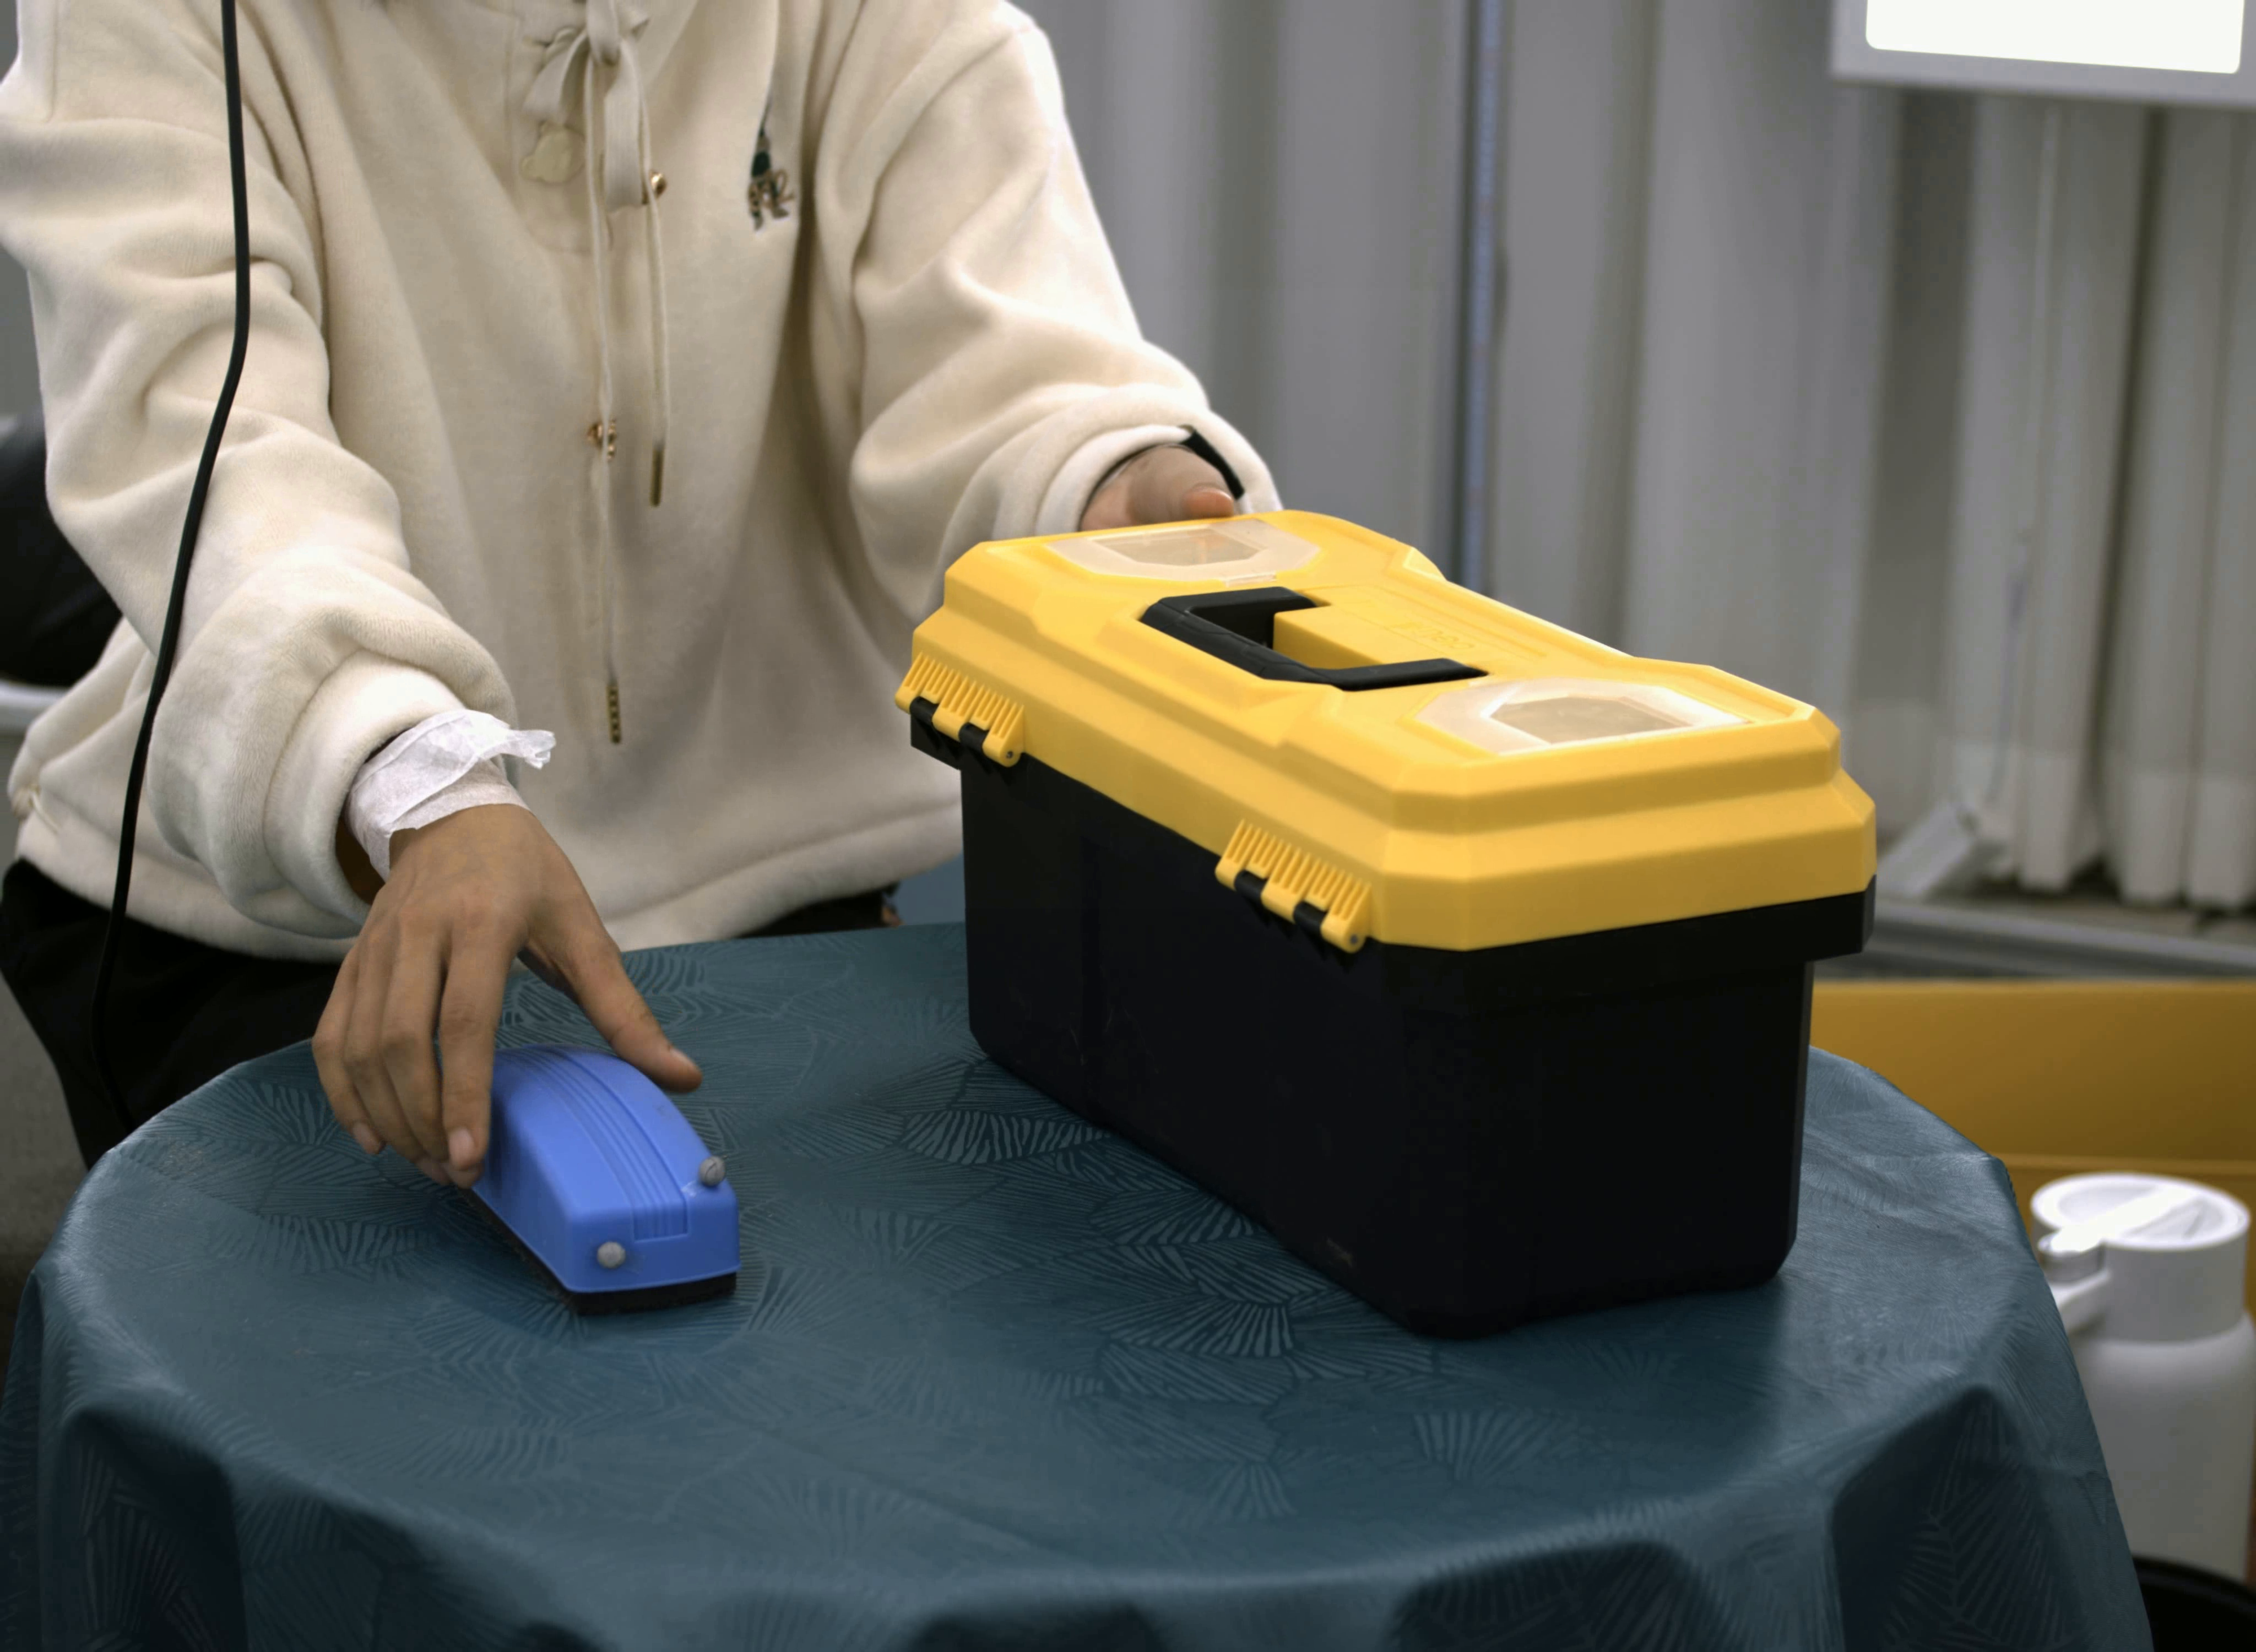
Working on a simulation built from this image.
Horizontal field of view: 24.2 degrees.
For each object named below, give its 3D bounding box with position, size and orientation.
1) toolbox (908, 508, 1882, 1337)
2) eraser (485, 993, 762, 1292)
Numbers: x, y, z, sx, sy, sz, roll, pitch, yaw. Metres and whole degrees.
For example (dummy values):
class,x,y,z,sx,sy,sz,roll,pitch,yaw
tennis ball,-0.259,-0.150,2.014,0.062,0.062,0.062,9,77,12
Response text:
class,x,y,z,sx,sy,sz,roll,pitch,yaw
toolbox,0.074,0.021,1.629,0.182,0.174,0.347,-8,18,-25
eraser,-0.155,0.088,1.588,0.054,0.048,0.160,-13,21,-14
